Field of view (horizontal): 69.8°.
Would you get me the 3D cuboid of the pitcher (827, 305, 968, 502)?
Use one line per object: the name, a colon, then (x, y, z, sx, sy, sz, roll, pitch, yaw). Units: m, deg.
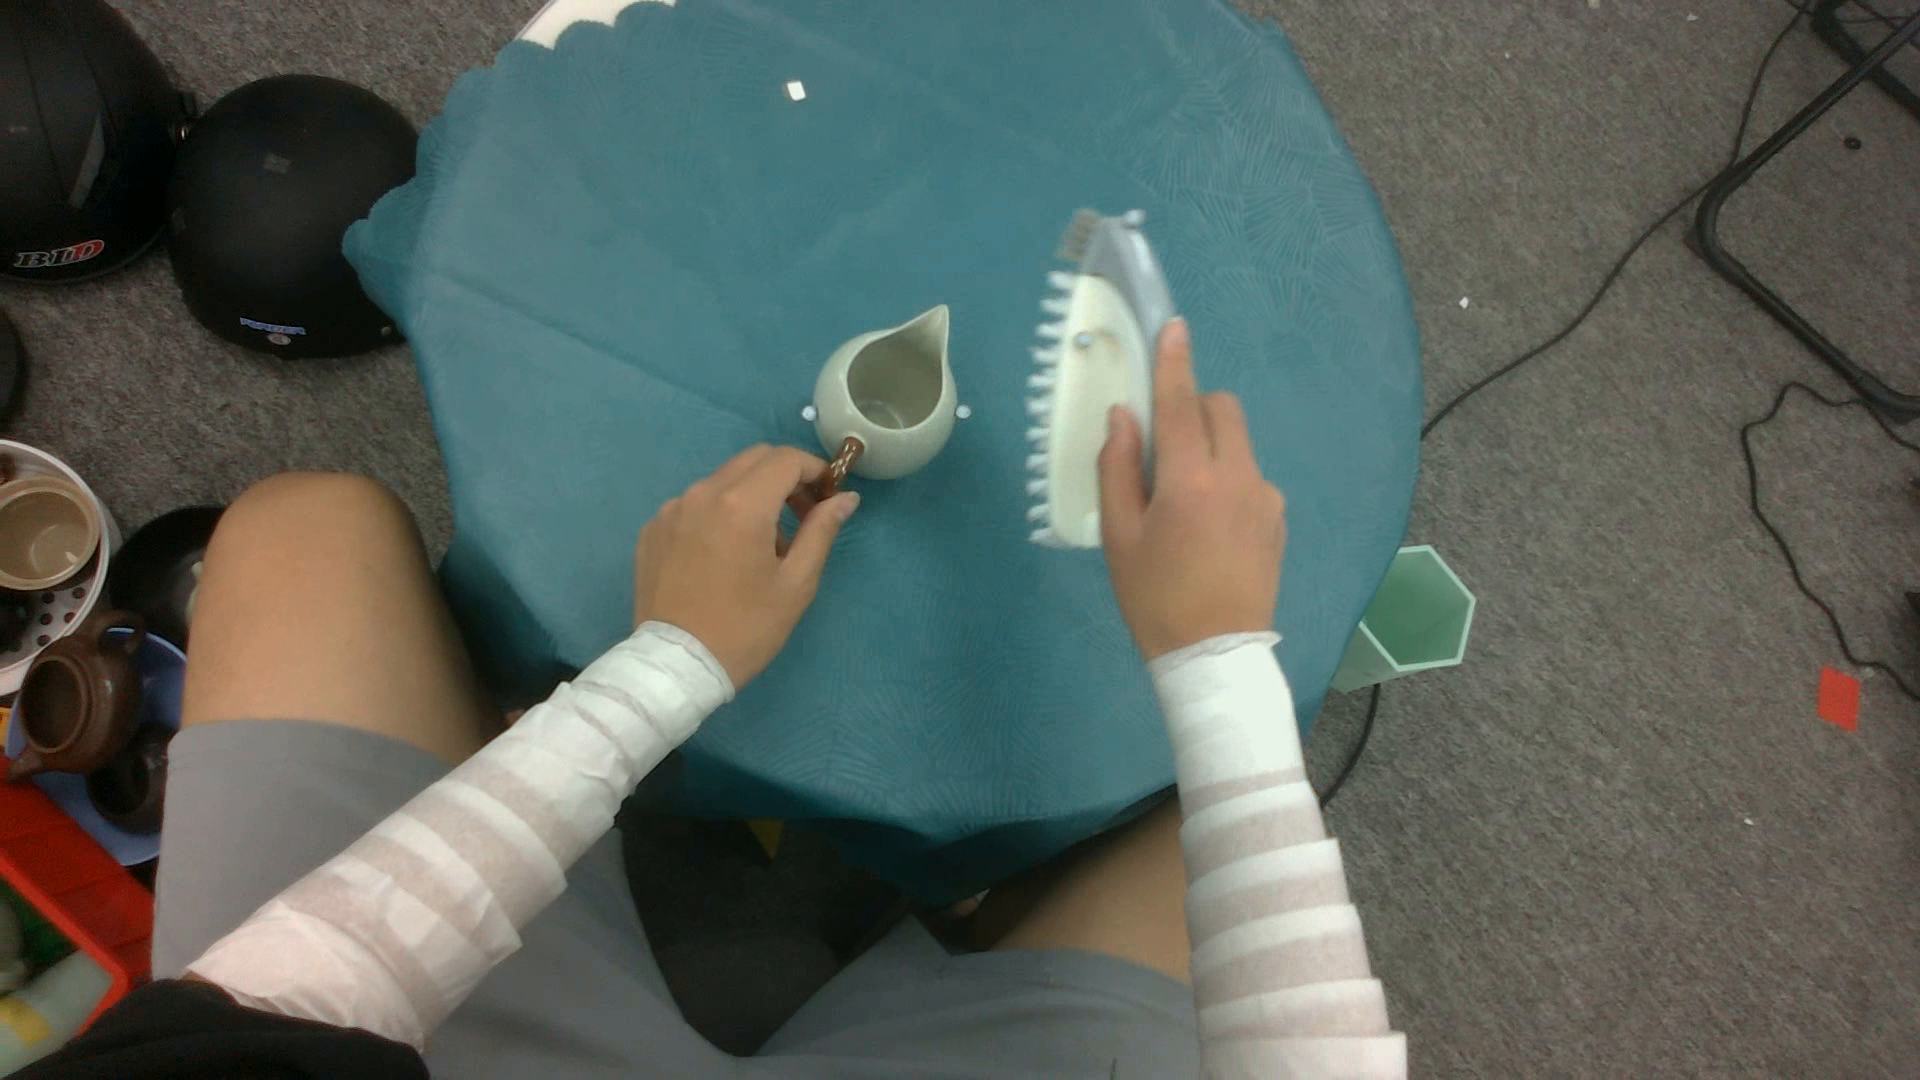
pitcher: (-0.039, -0.062, 0.747, 0.076, 0.087, 0.119, 31, 67, 3)

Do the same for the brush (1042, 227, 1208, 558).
brush: (0.087, -0.078, 0.696, 0.061, 0.094, 0.175, 4, 88, -28)
